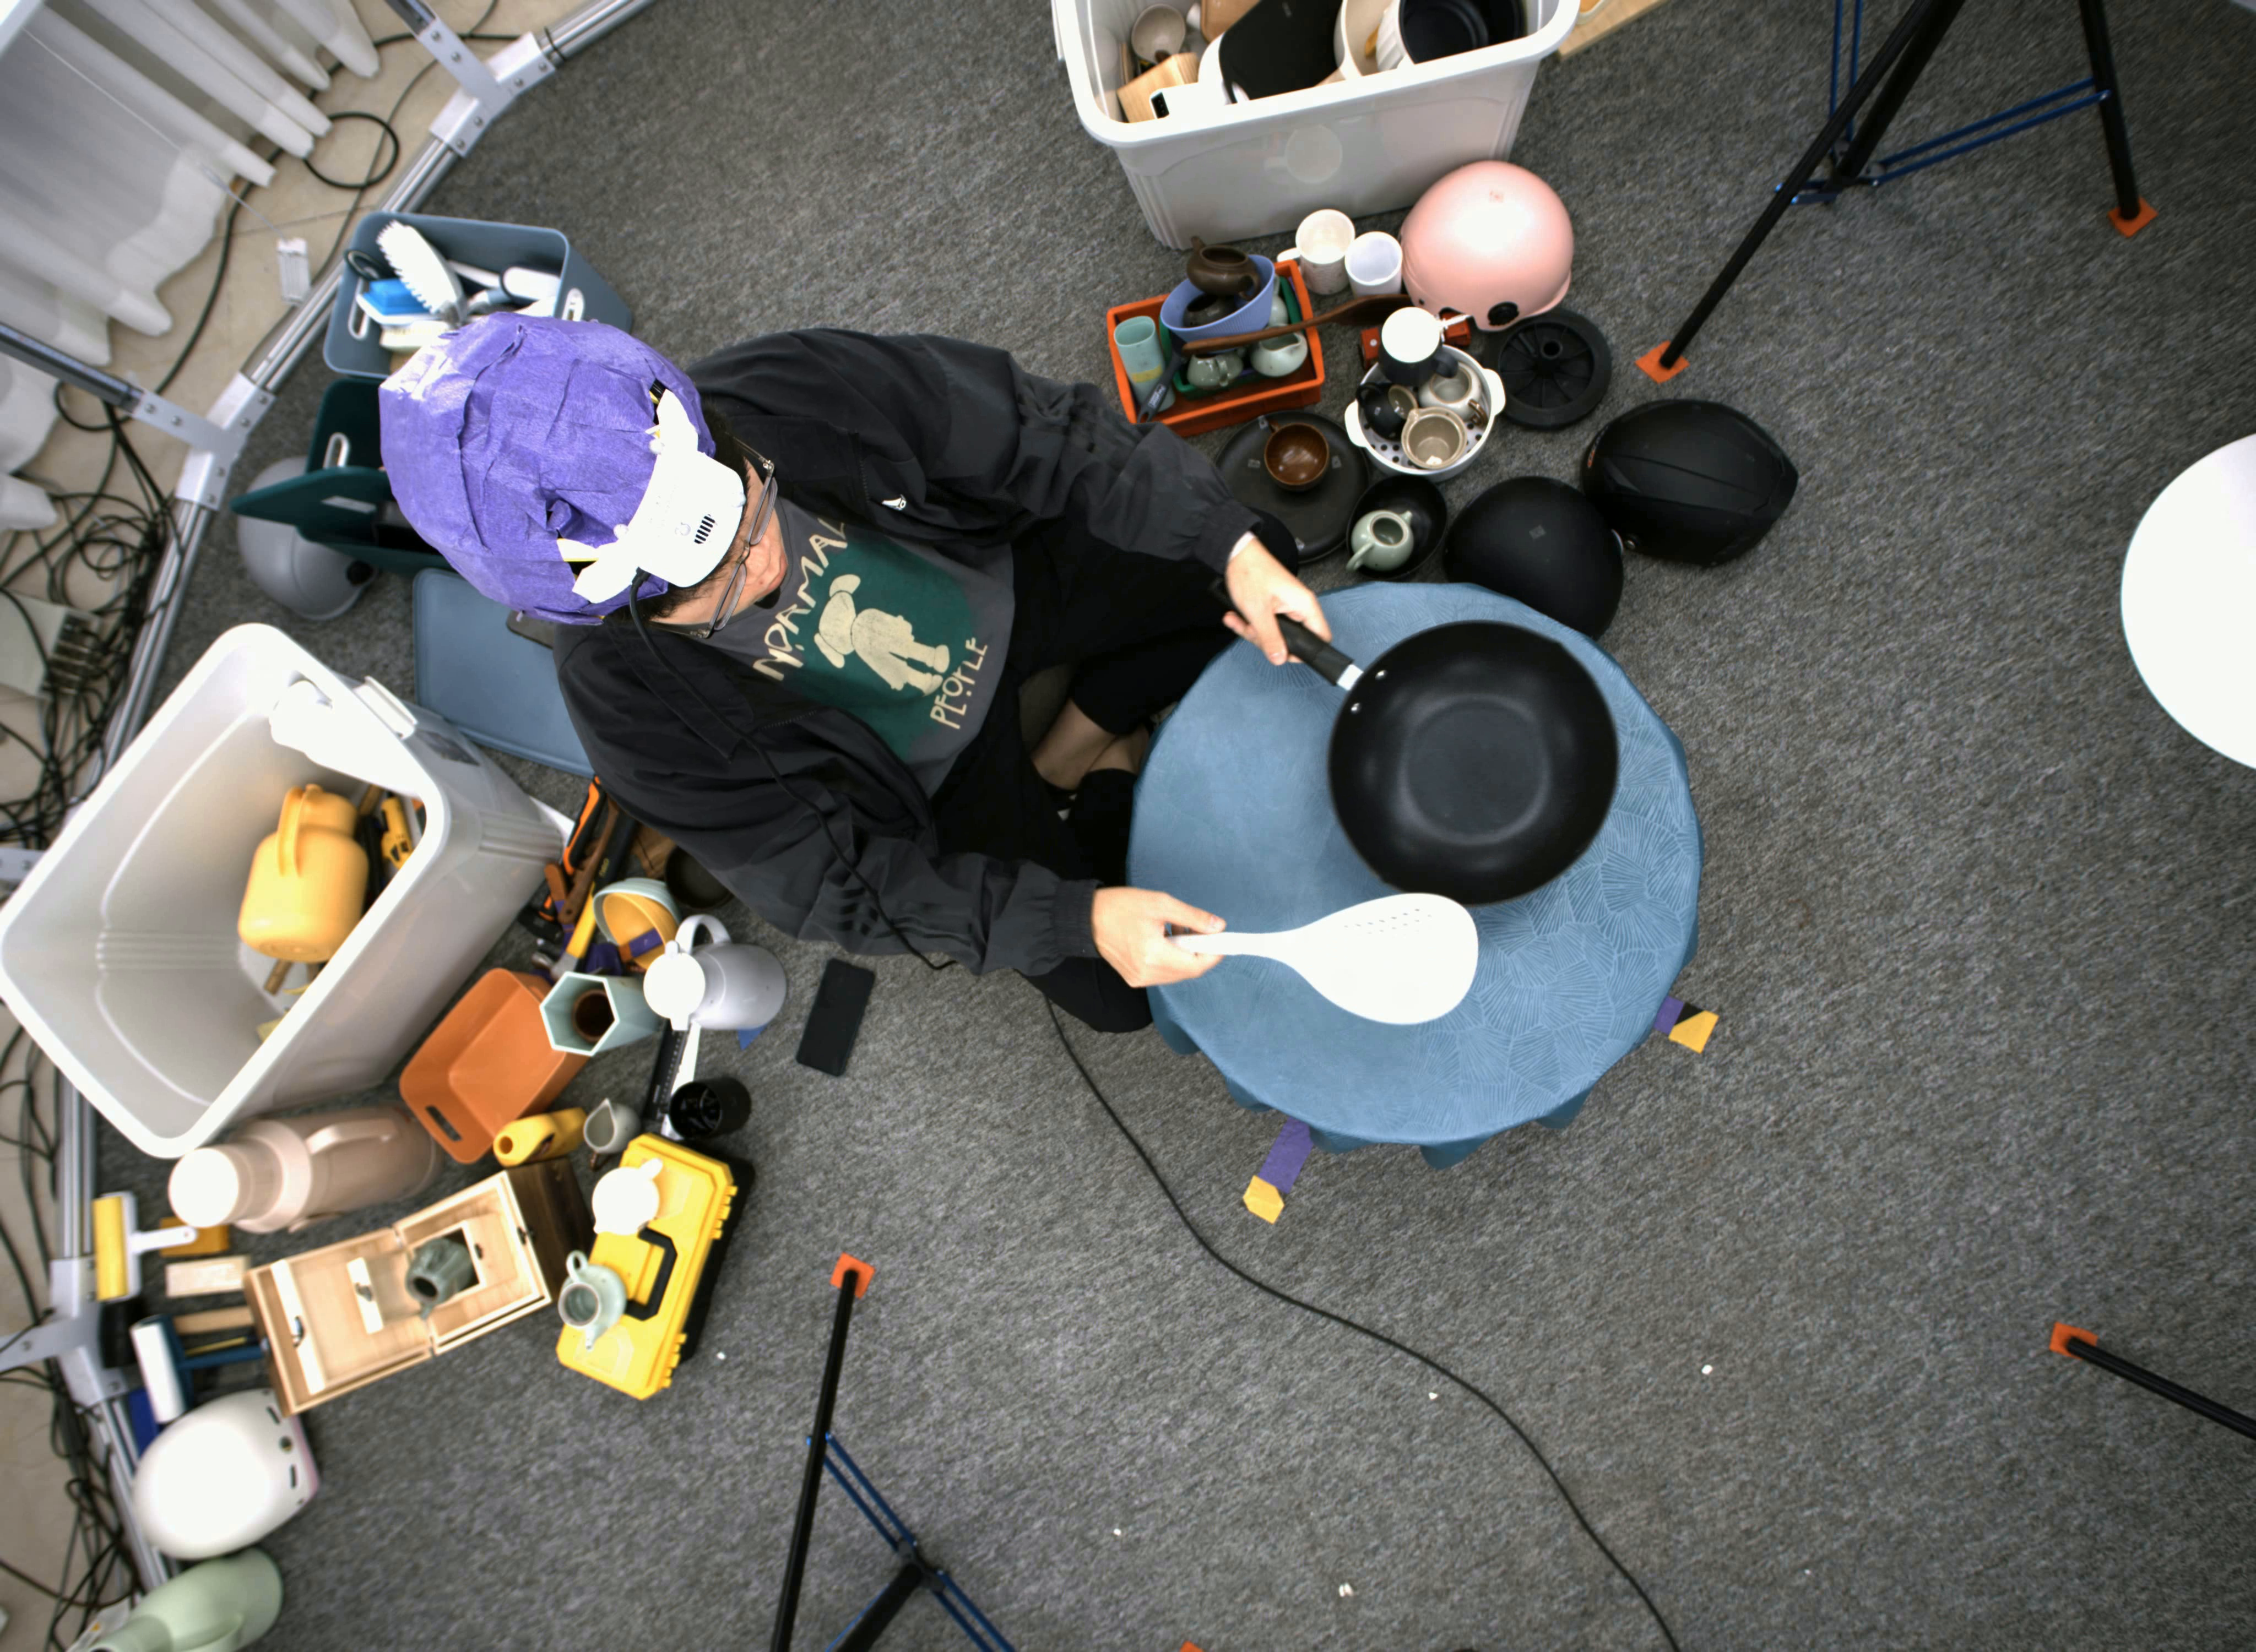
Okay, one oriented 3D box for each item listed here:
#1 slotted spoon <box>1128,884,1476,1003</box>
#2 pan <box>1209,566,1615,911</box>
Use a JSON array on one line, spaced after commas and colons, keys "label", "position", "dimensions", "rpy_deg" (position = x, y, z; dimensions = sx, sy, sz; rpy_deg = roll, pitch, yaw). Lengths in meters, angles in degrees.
[{"label": "slotted spoon", "position": [0.155, 0.114, 1.307], "dimensions": [0.350, 0.051, 0.133], "rpy_deg": [1, 49, 25]}, {"label": "pan", "position": [0.268, -0.113, 1.385], "dimensions": [0.461, 0.086, 0.291], "rpy_deg": [39, 103, 15]}]
